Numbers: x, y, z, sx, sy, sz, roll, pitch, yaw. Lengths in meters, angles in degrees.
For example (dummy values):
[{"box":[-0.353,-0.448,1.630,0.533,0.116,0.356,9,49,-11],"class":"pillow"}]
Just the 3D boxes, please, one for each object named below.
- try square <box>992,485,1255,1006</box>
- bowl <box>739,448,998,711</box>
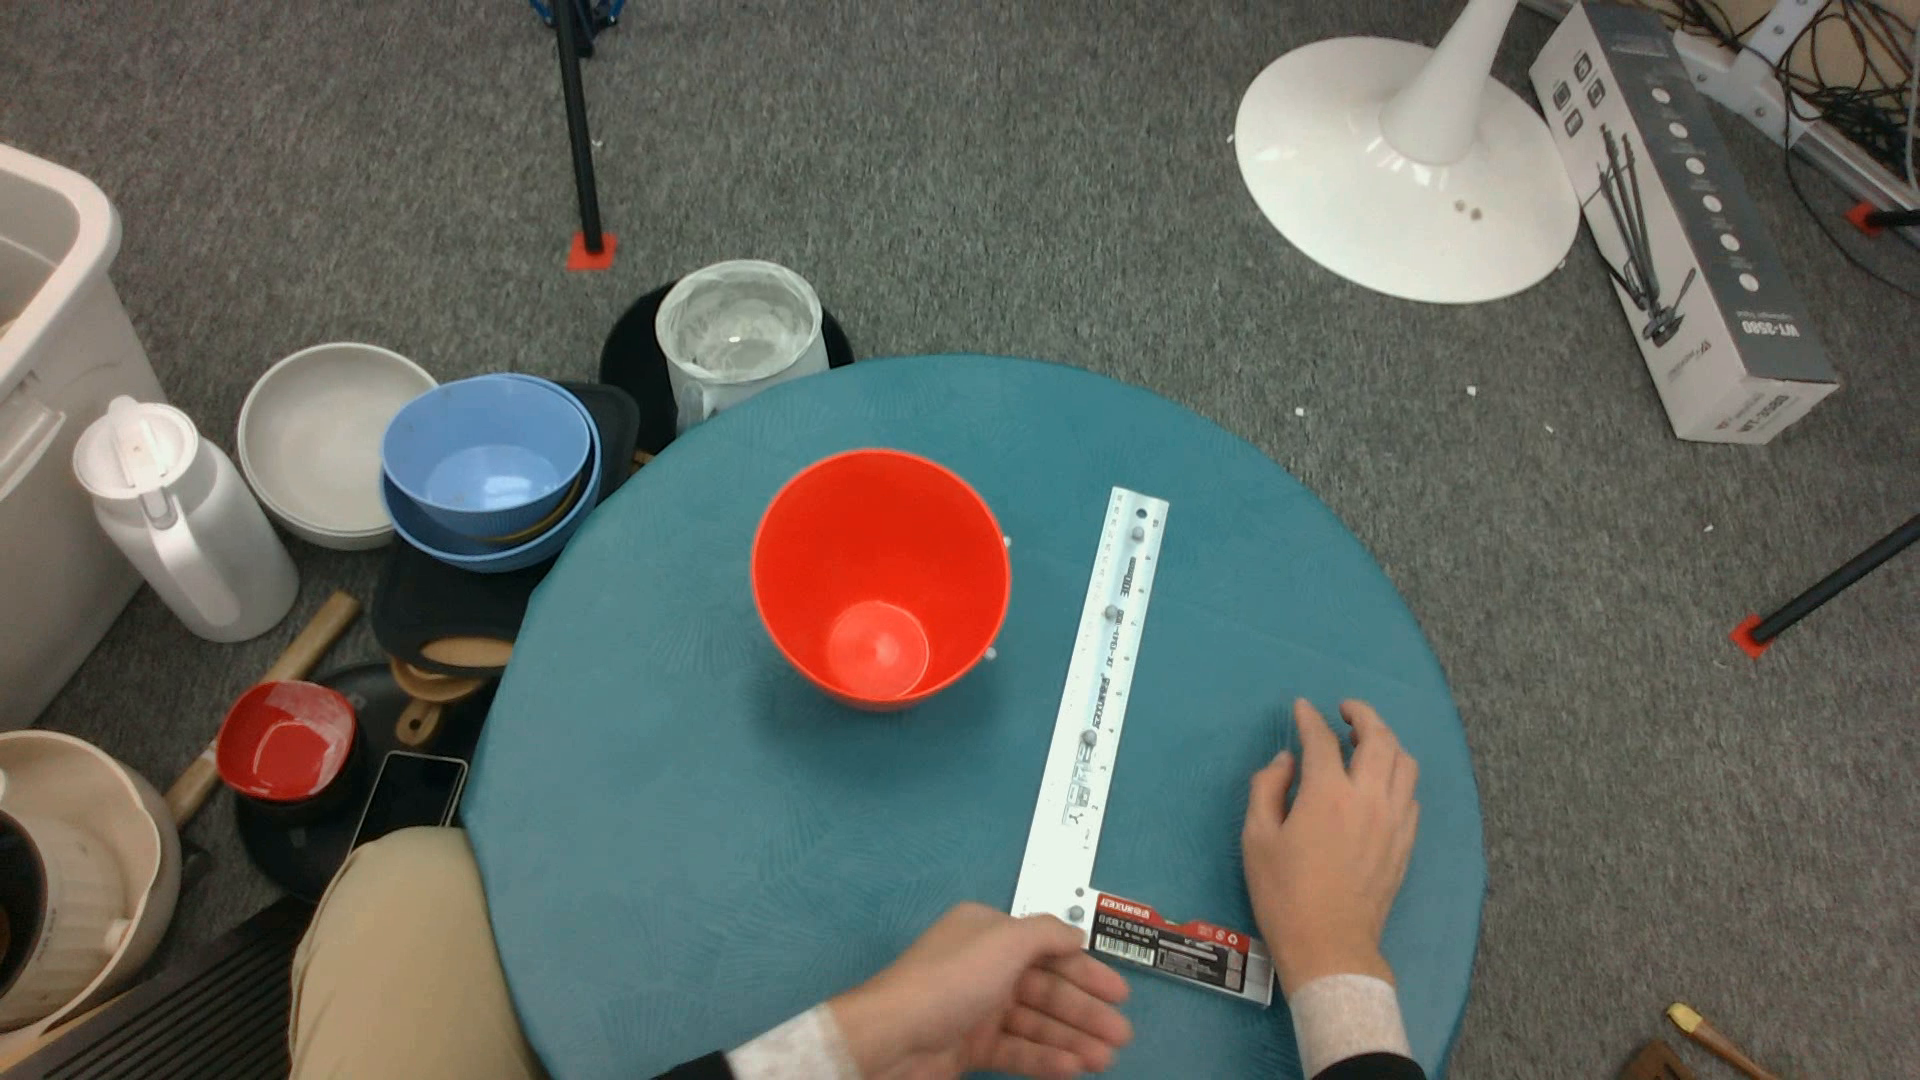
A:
[{"box":[0.125,0.113,0.853,0.152,0.016,0.314,18,58,-2],"class":"try square"},{"box":[-0.056,0.036,0.812,0.148,0.104,0.148,4,60,-8],"class":"bowl"}]
